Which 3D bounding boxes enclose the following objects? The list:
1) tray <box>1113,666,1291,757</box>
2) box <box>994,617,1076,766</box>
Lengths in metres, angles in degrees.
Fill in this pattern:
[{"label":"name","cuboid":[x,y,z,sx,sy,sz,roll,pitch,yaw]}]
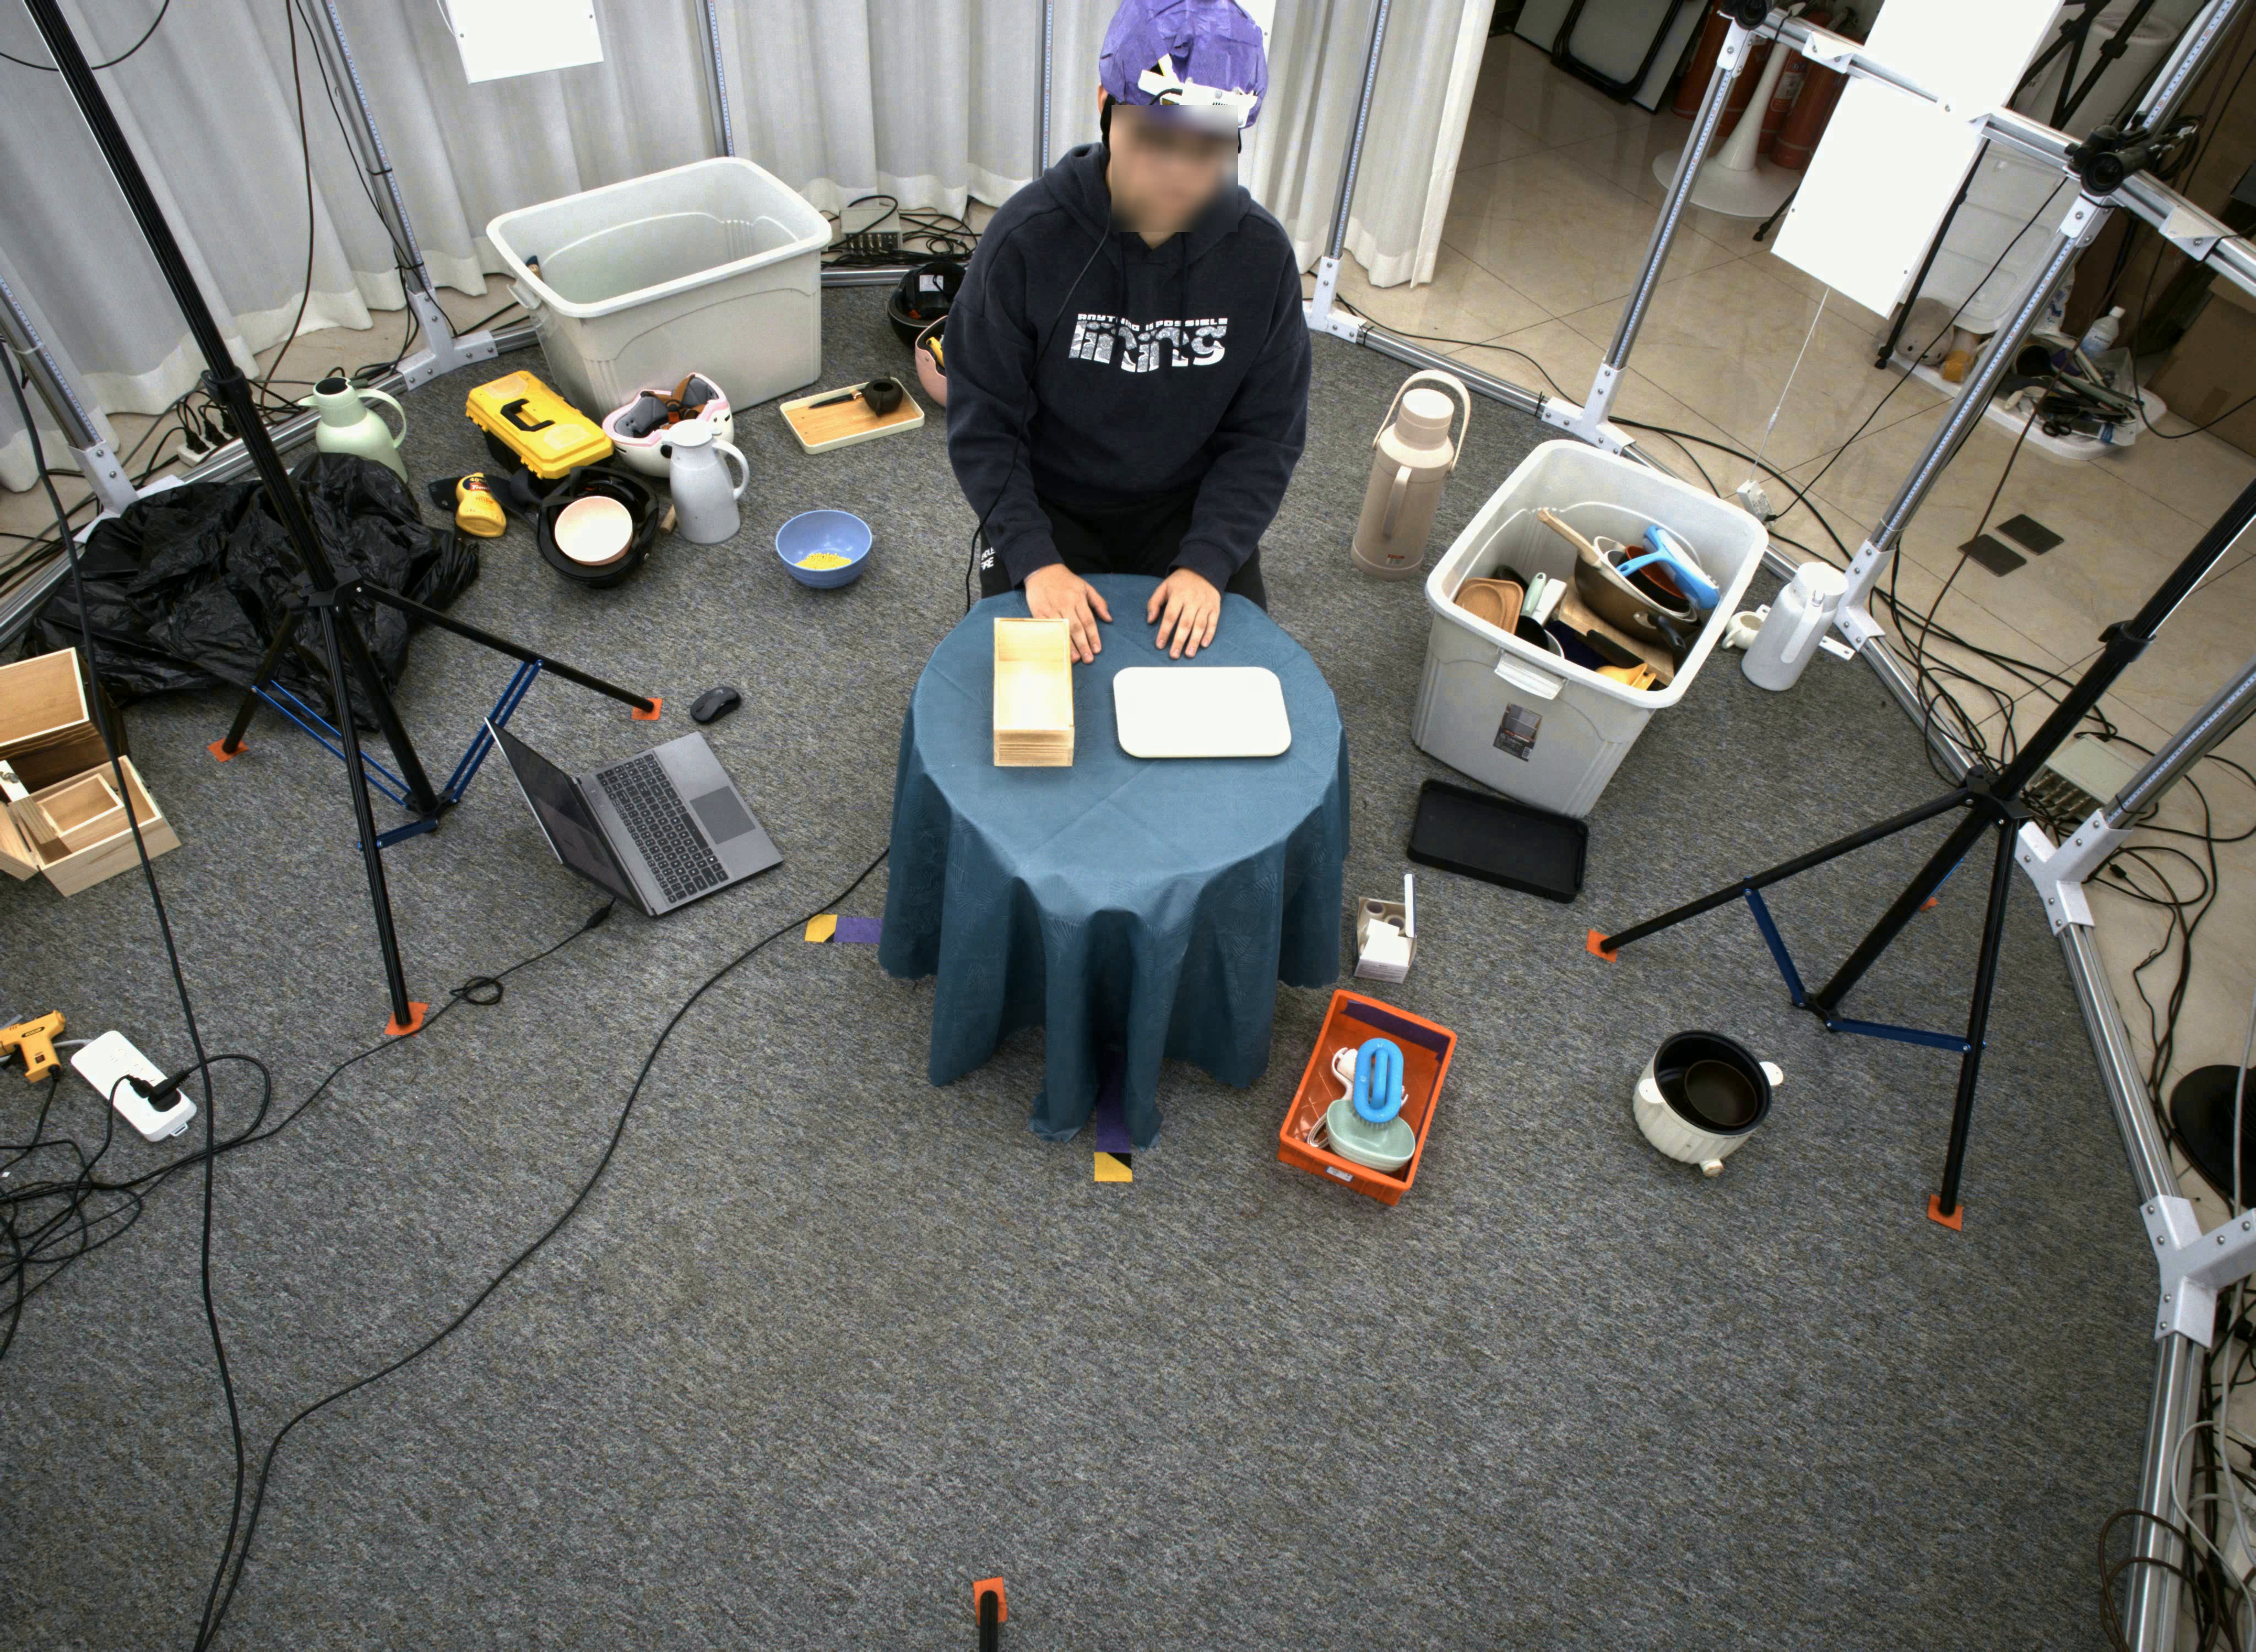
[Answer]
[{"label":"tray","cuboid":[0.102,-0.160,1.801,0.239,0.017,0.175,-1,48,-5]},{"label":"box","cuboid":[-0.130,-0.187,1.766,0.107,0.078,0.217,0,49,-5]}]
